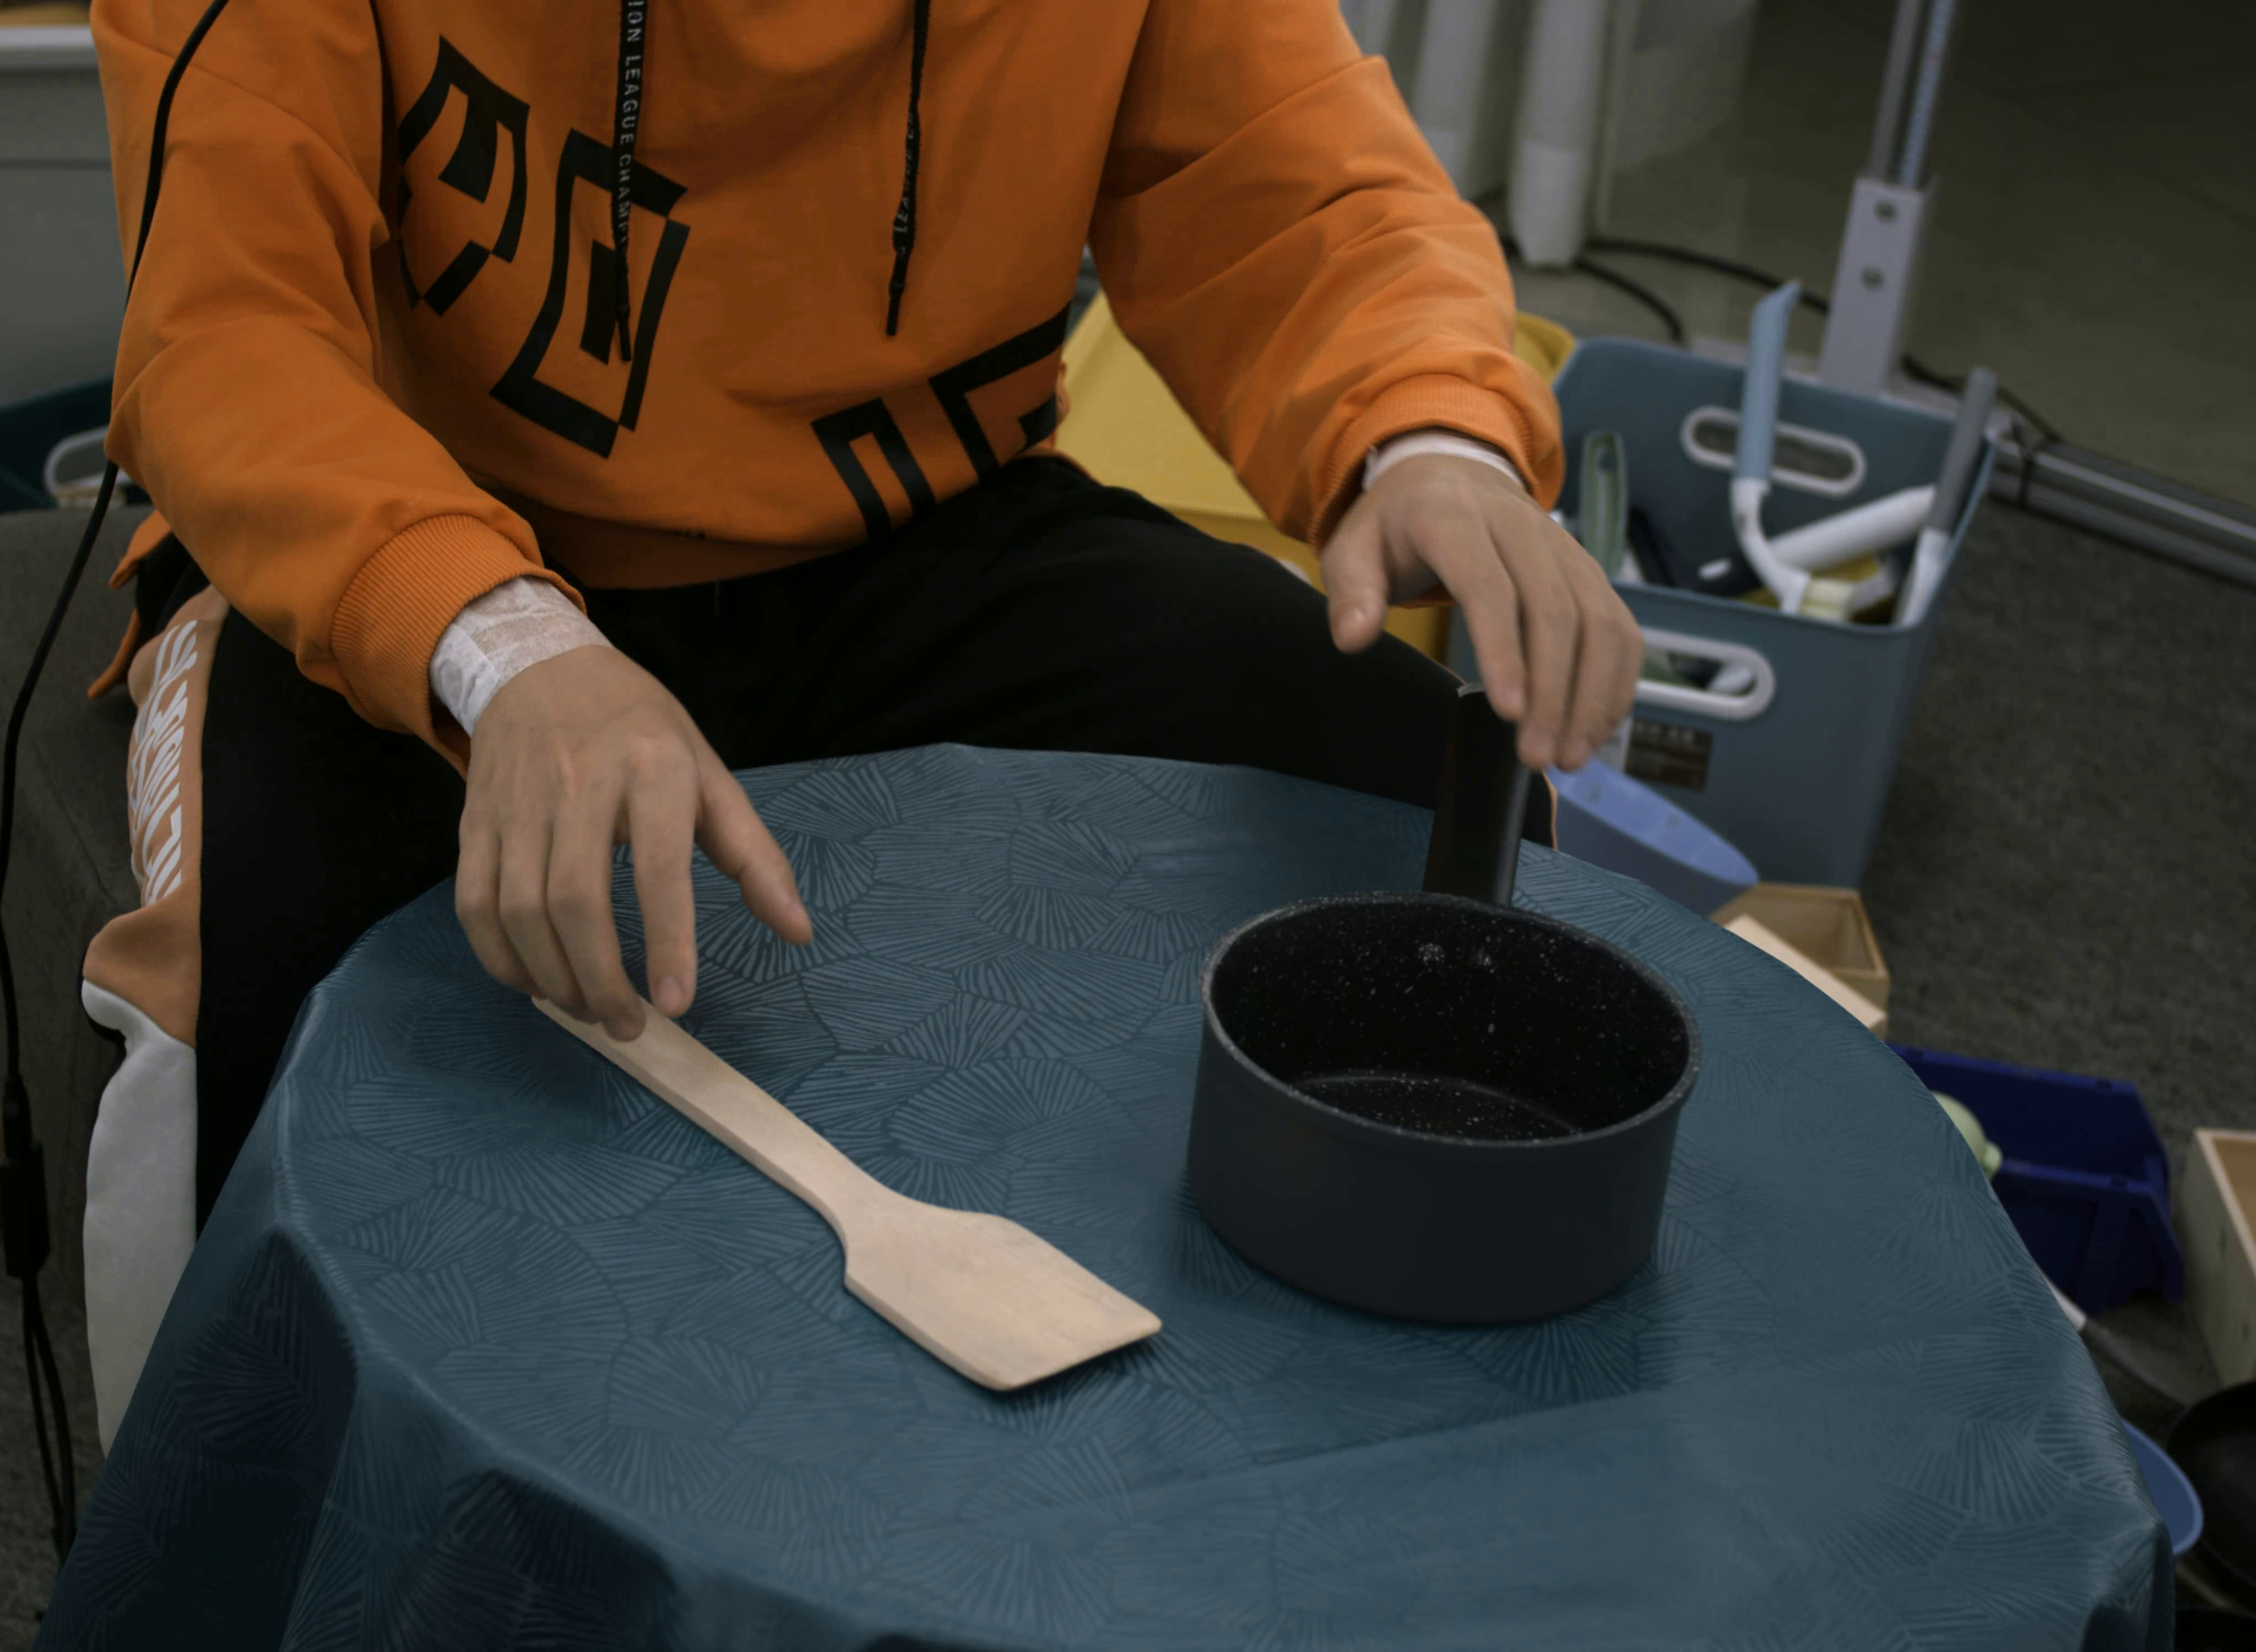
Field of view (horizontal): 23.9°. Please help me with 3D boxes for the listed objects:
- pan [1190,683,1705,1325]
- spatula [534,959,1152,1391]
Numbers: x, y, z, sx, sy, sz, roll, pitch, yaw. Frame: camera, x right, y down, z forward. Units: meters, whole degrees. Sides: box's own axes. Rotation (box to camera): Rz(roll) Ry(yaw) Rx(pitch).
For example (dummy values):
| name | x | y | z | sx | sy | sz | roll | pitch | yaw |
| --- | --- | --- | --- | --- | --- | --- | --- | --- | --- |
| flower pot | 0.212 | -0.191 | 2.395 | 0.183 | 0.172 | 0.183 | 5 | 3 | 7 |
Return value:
| name | x | y | z | sx | sy | sz | roll | pitch | yaw |
| --- | --- | --- | --- | --- | --- | --- | --- | --- | --- |
| pan | 0.117 | 0.057 | 1.866 | 0.172 | 0.086 | 0.330 | 10 | 29 | 6 |
| spatula | -0.110 | 0.112 | 1.790 | 0.072 | 0.010 | 0.295 | -20 | 37 | -35 |
